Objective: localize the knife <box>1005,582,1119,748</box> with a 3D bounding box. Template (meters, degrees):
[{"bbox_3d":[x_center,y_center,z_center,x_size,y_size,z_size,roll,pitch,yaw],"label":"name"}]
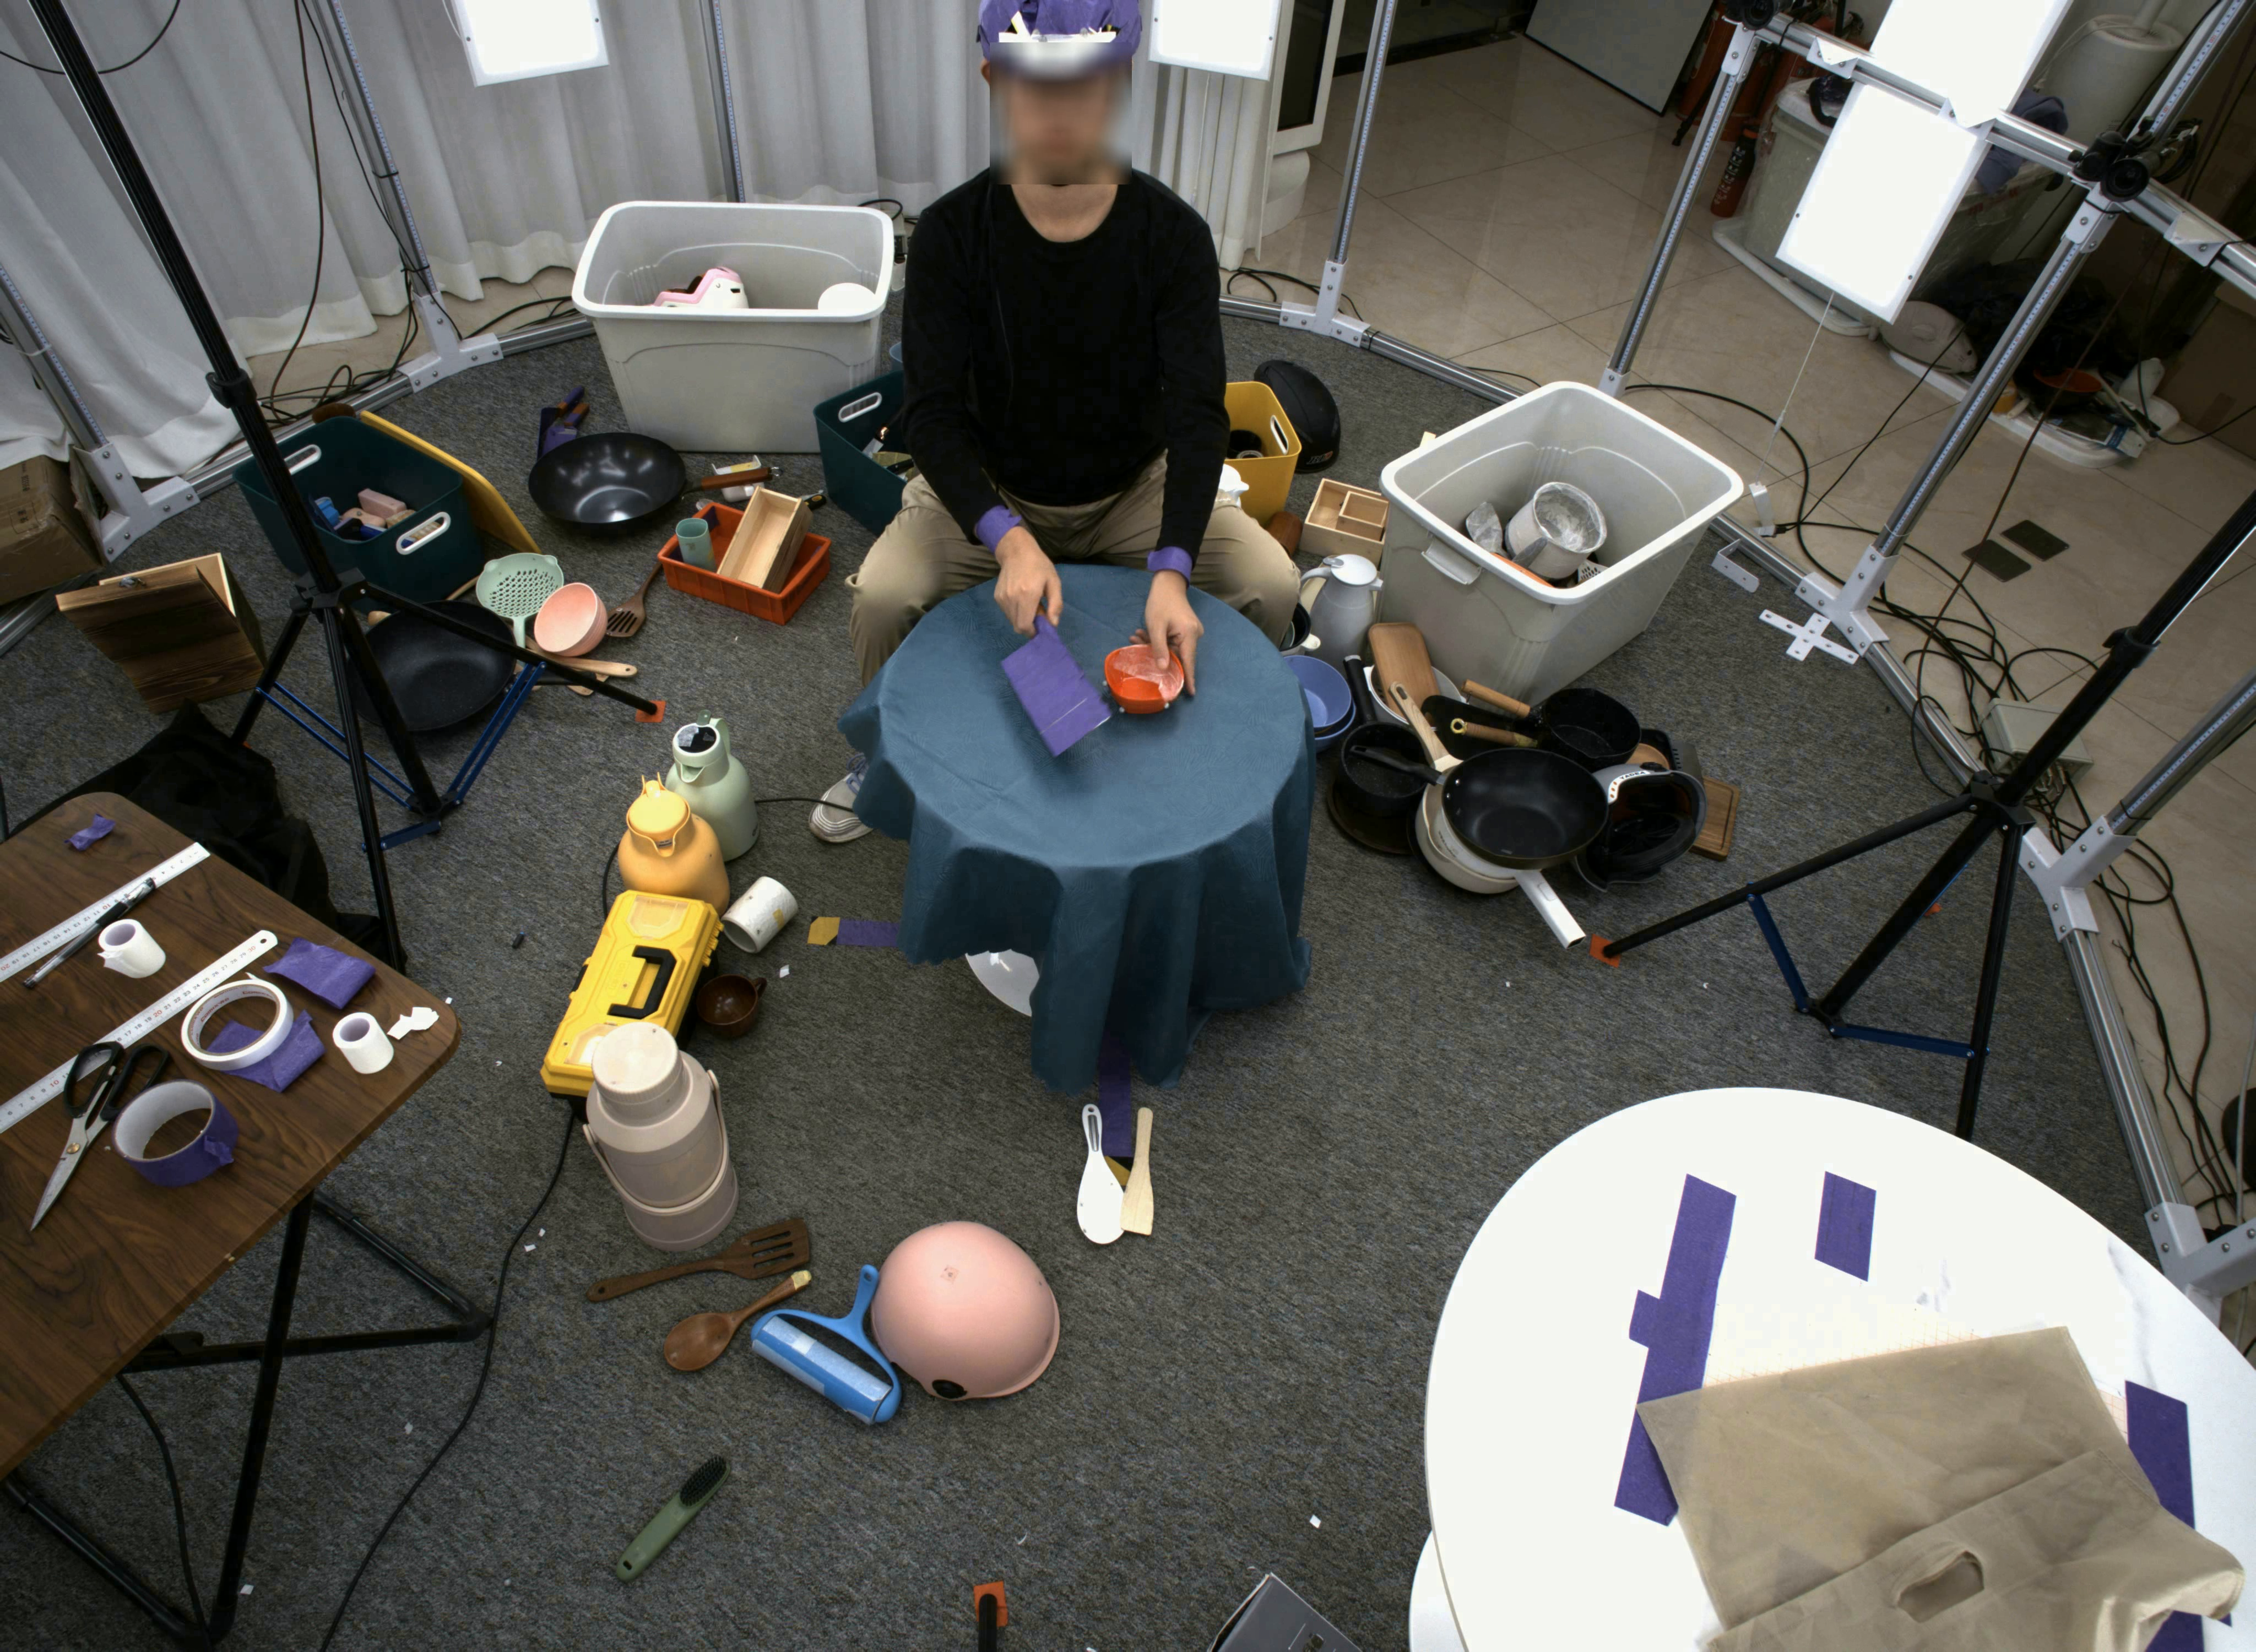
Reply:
[{"bbox_3d":[-0.118,-0.226,1.770,0.104,0.031,0.322,-35,48,3],"label":"knife"}]

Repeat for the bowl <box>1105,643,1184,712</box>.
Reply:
[{"bbox_3d":[0.022,-0.203,1.809,0.119,0.050,0.122,2,51,-3],"label":"bowl"}]
